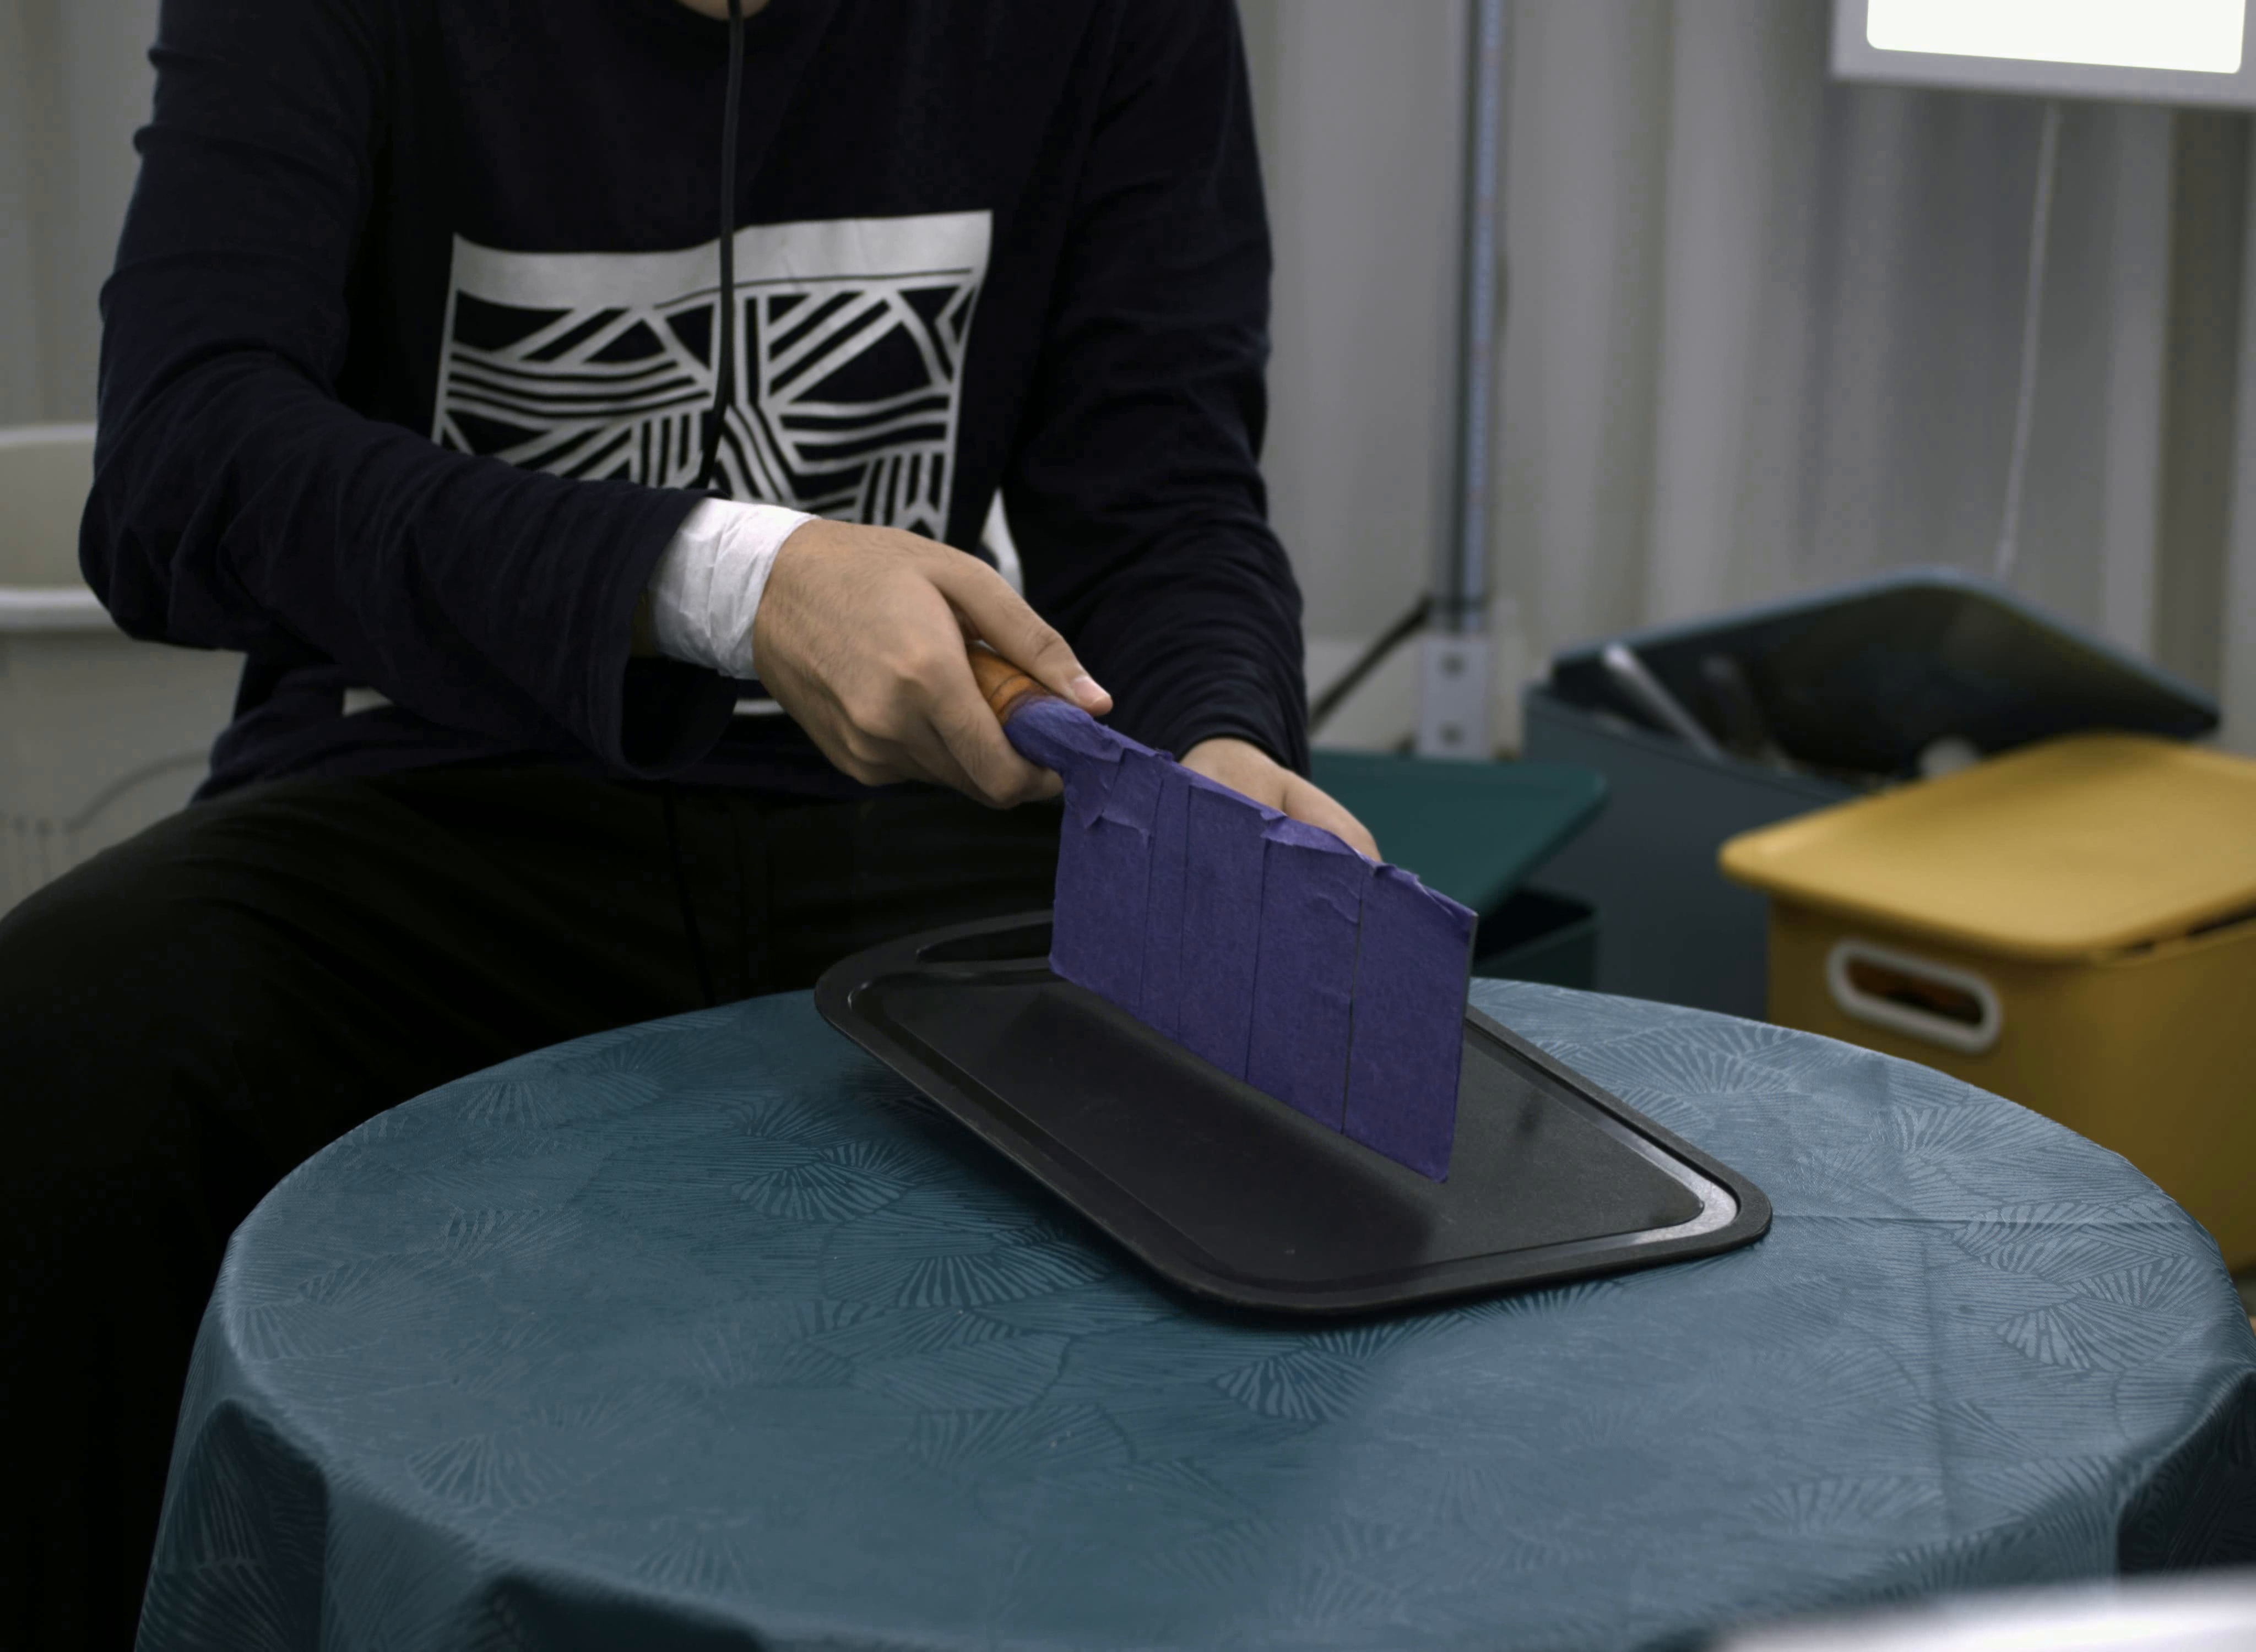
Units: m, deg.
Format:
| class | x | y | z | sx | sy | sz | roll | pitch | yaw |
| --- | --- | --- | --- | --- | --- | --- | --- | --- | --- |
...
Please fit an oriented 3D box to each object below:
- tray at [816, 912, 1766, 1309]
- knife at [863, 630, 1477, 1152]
| class | x | y | z | sx | sy | sz | roll | pitch | yaw |
| --- | --- | --- | --- | --- | --- | --- | --- | --- | --- |
| tray | 0.041 | 0.081 | 1.668 | 0.212 | 0.010 | 0.321 | -6 | 21 | -29 |
| knife | 0.006 | 0.020 | 1.682 | 0.032 | 0.104 | 0.311 | -6 | 21 | -35 |
